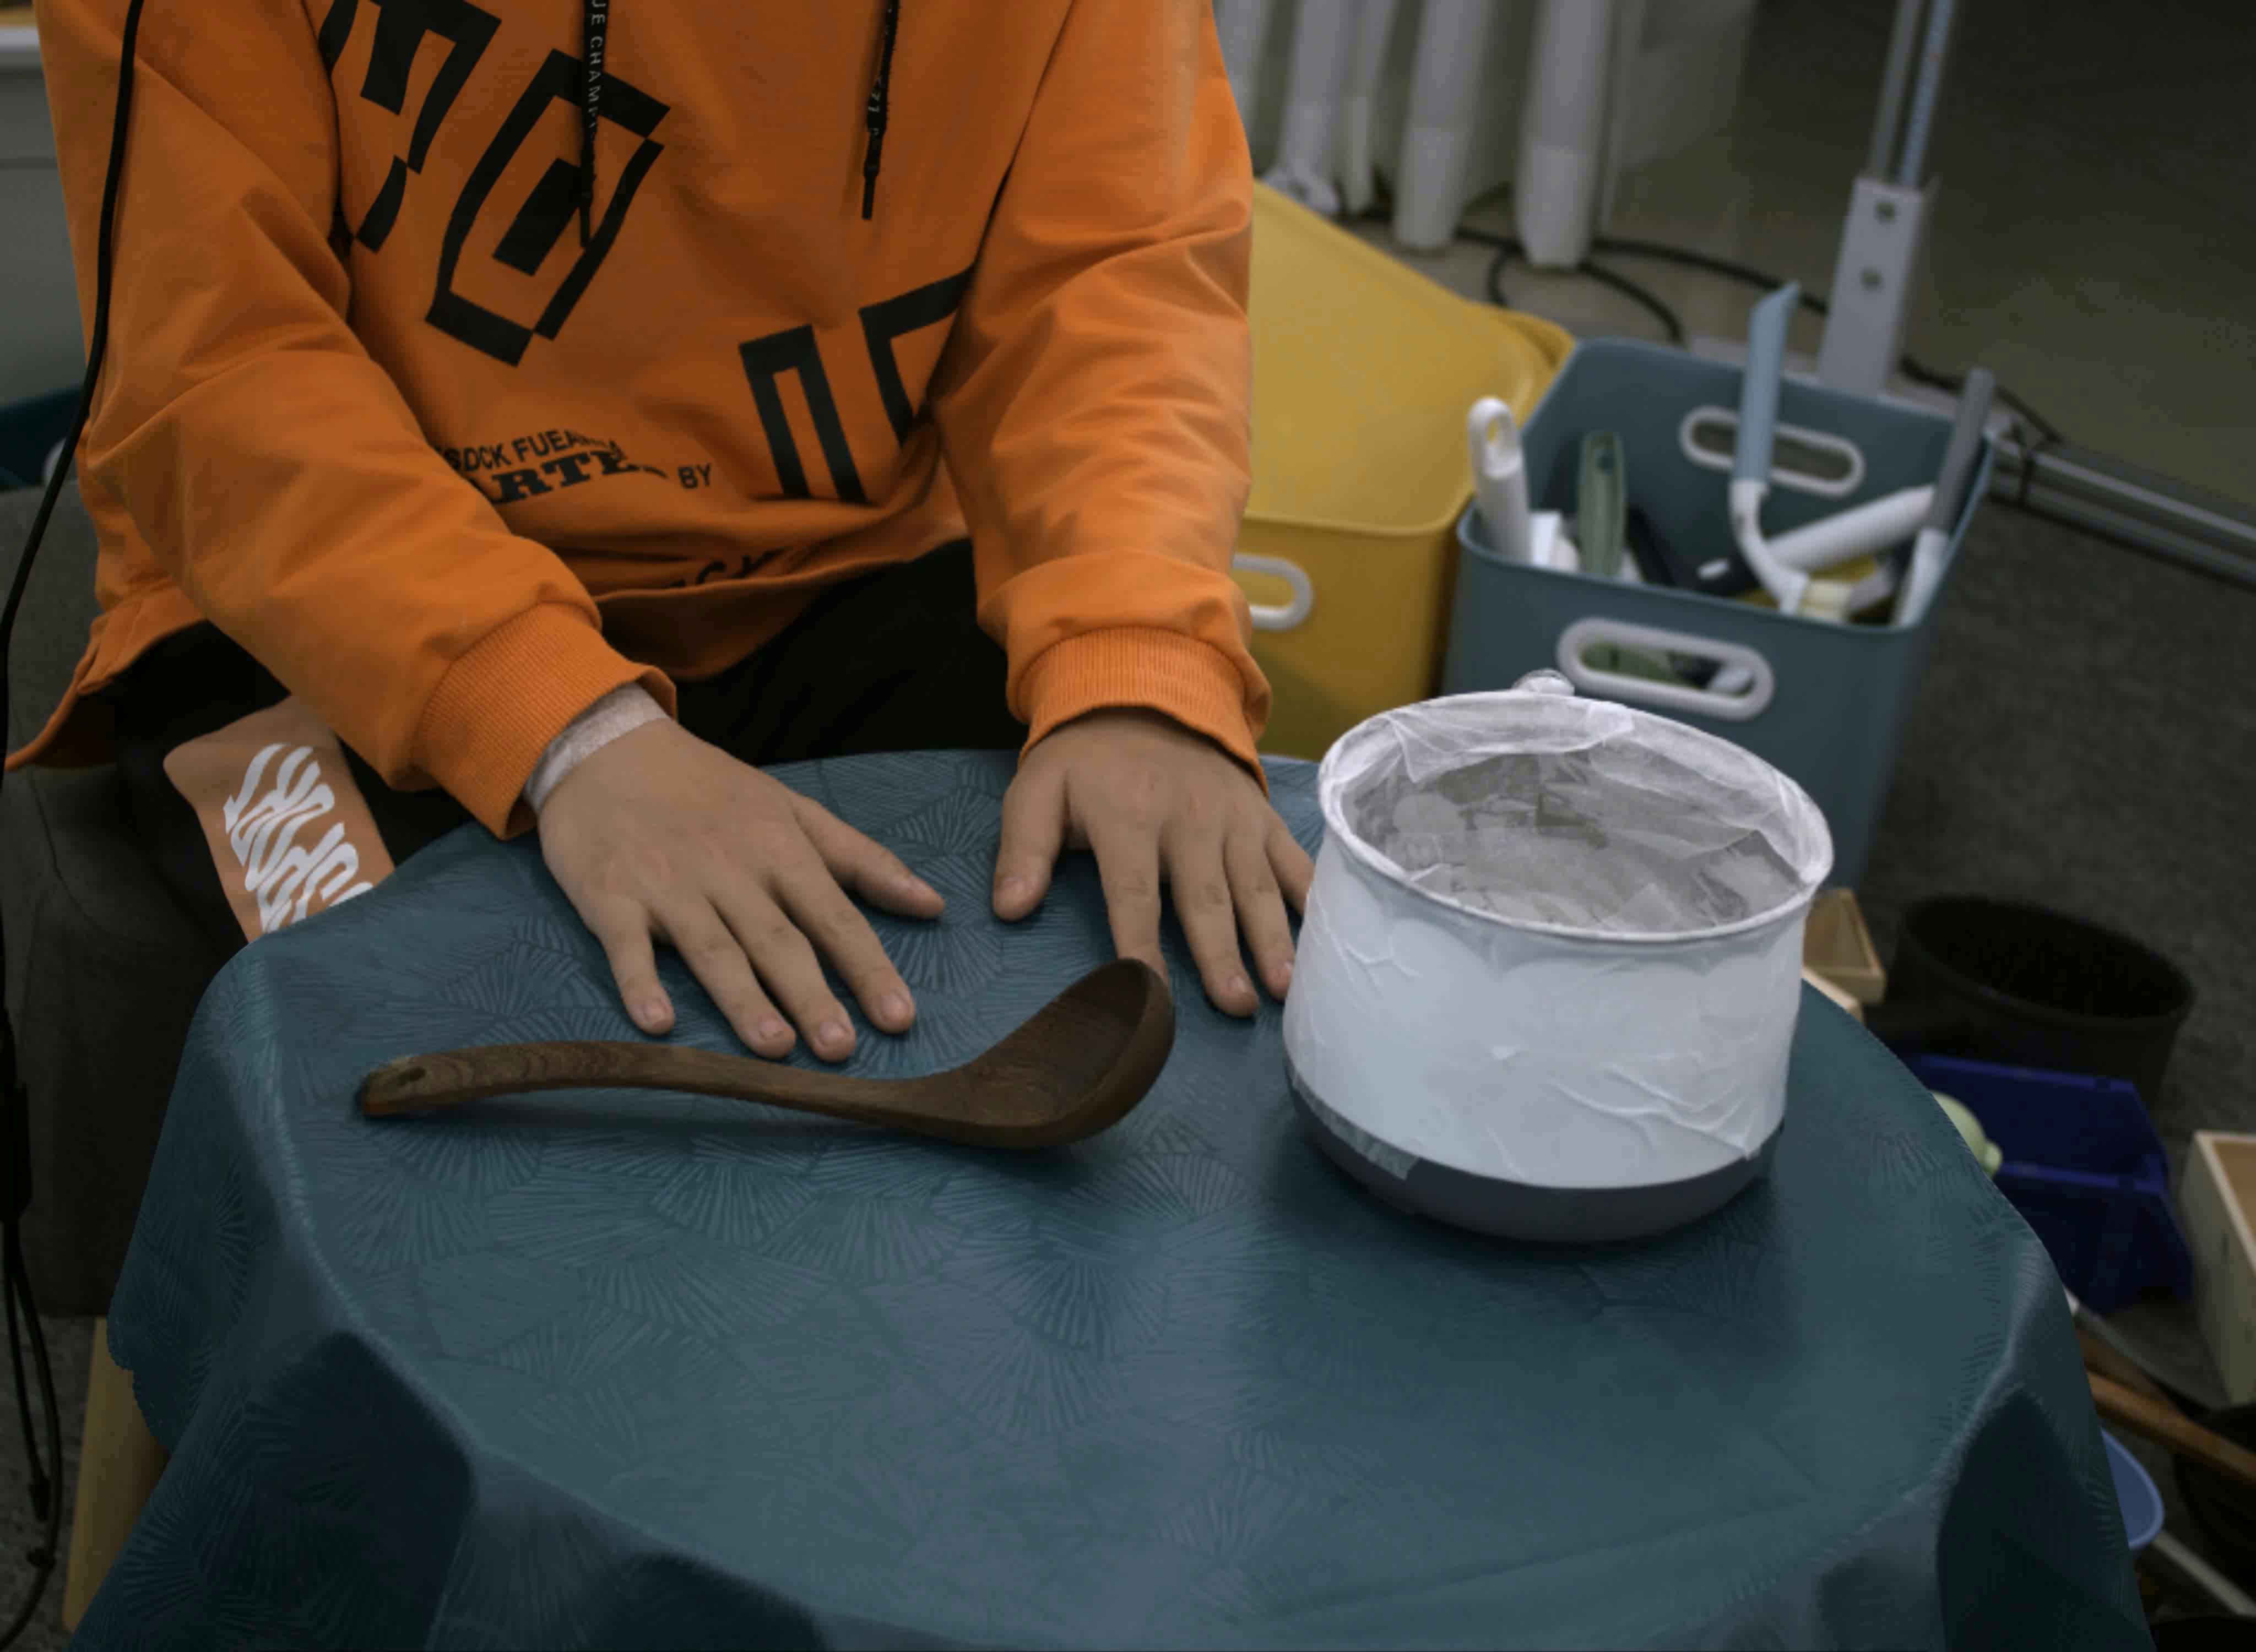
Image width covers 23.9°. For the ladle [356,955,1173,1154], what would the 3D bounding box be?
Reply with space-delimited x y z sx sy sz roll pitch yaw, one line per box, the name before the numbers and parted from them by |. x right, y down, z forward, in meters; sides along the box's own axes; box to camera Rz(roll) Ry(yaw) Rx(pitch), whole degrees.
ladle | -0.122 0.071 1.801 0.273 0.071 0.076 4 23 -7

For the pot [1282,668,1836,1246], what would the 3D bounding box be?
pot | 0.143 0.038 1.852 0.178 0.136 0.235 5 27 -5
